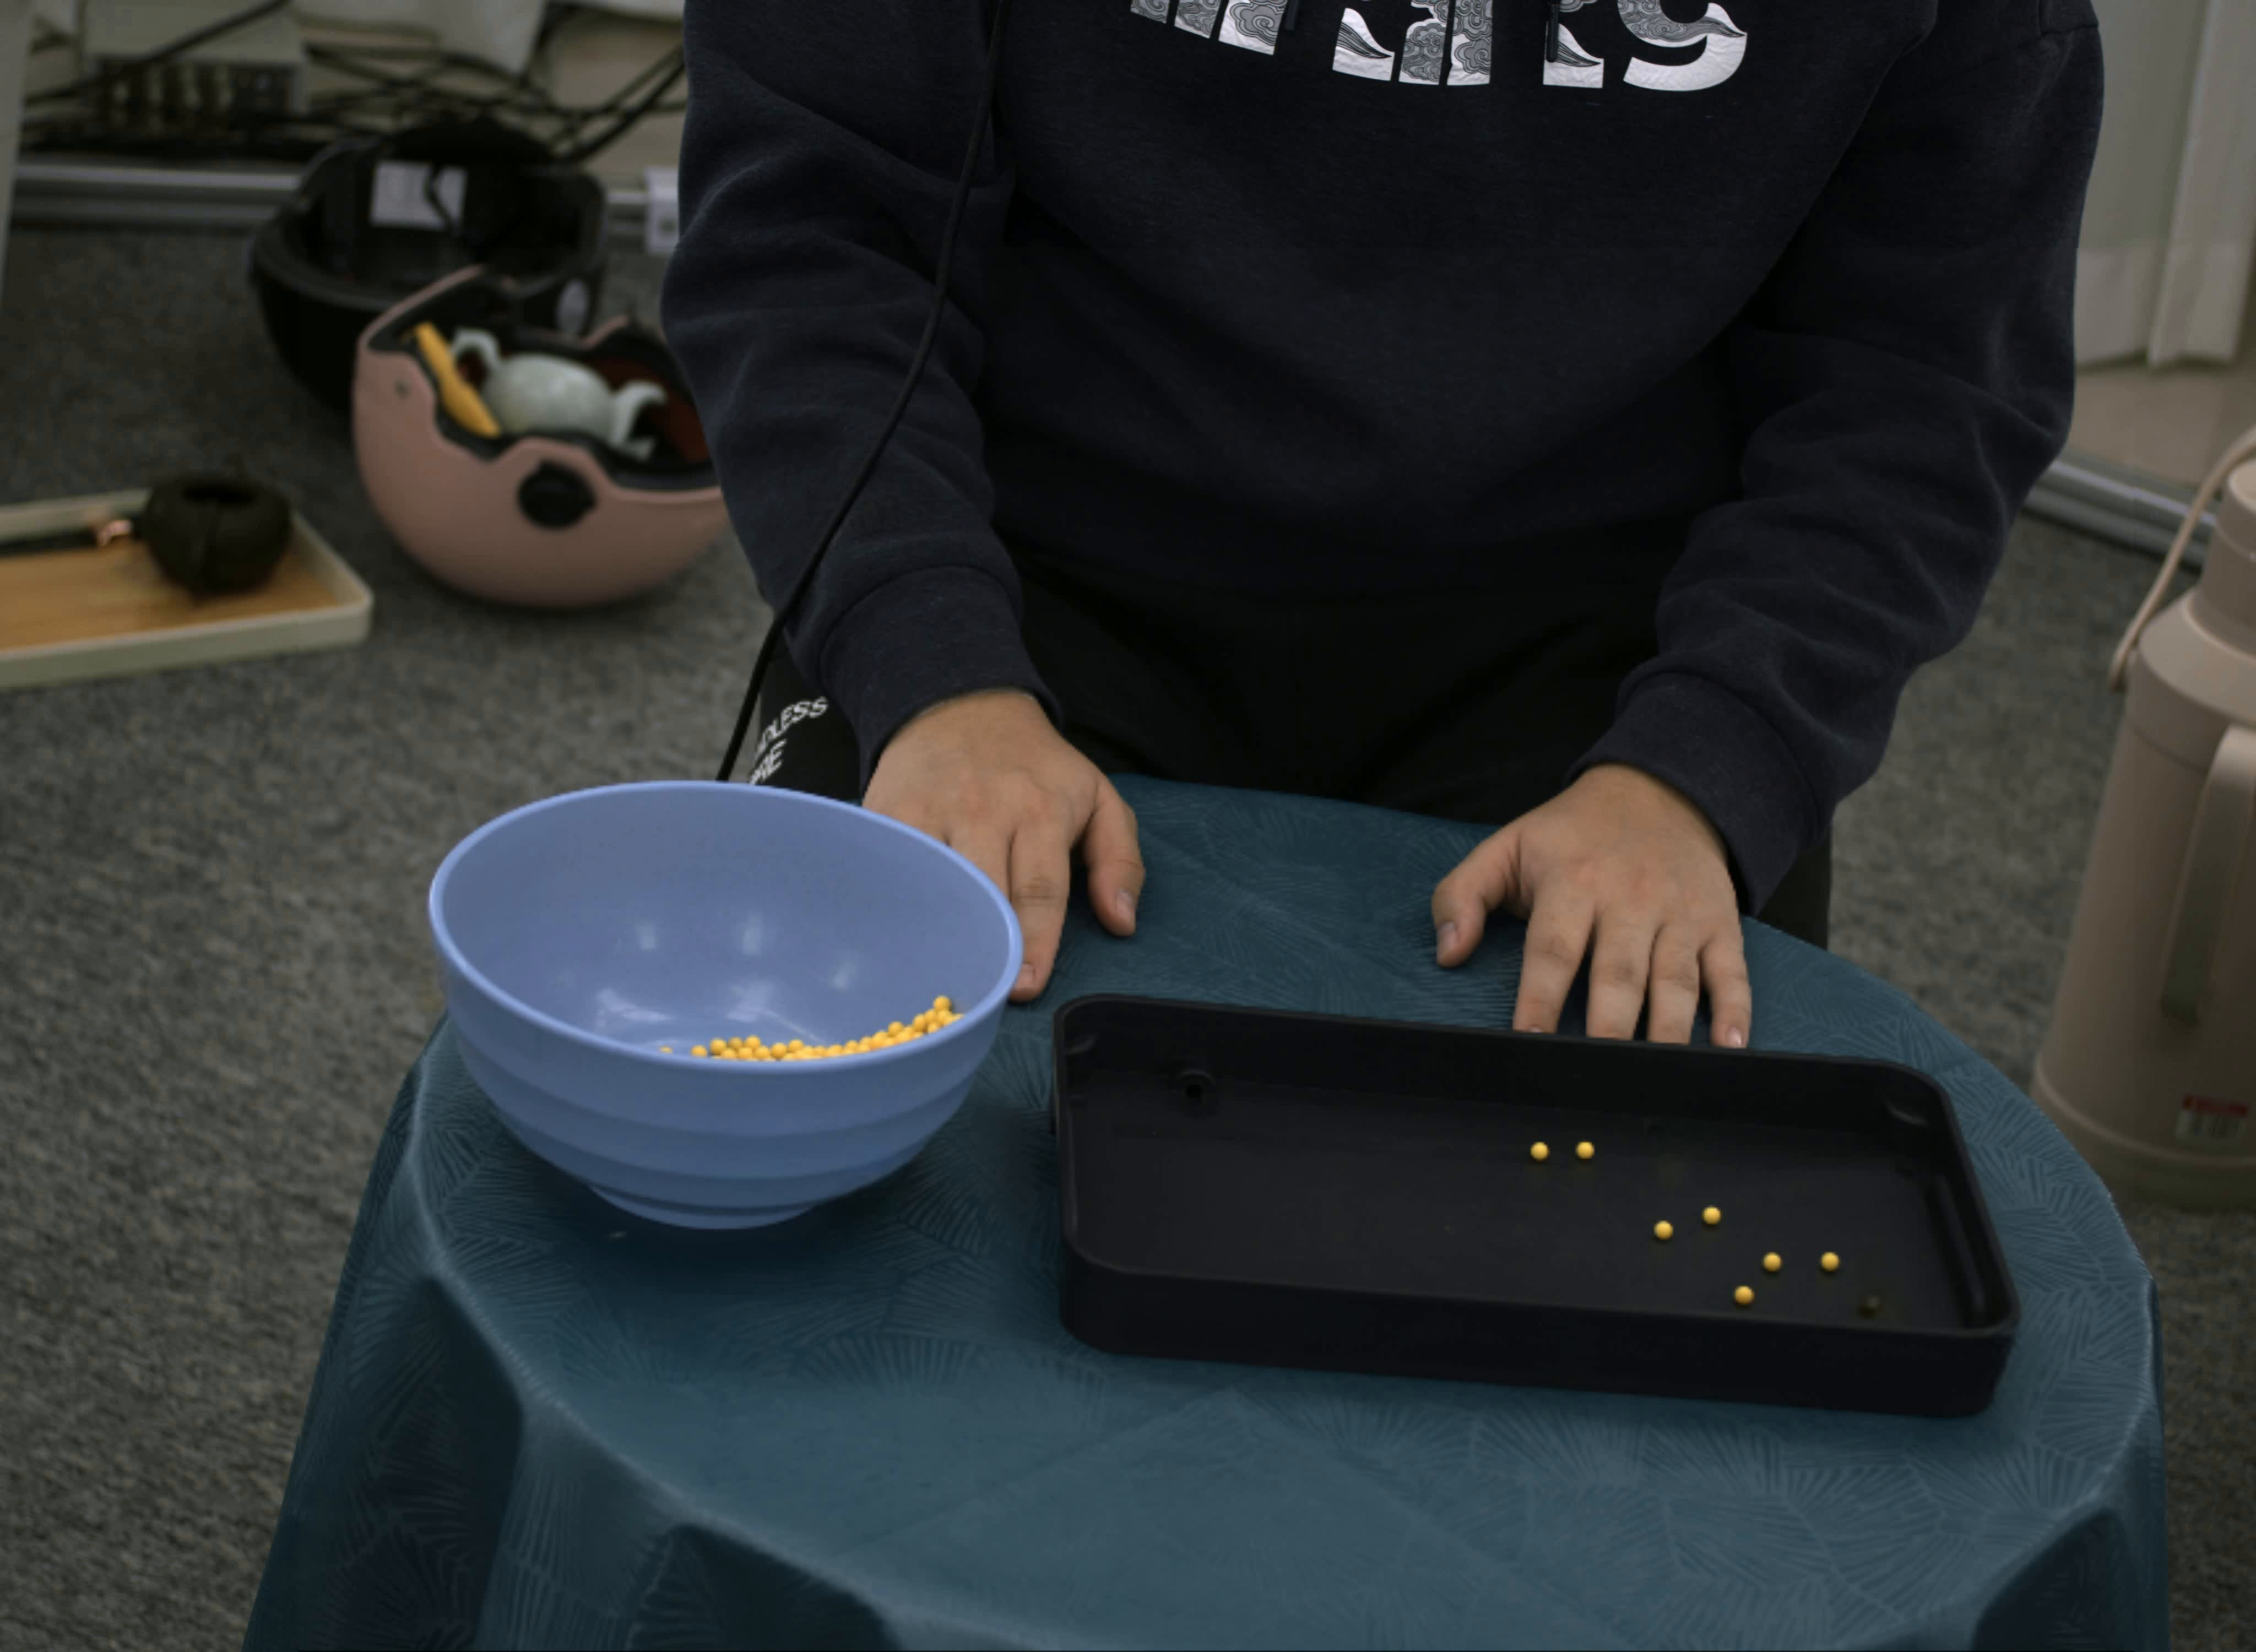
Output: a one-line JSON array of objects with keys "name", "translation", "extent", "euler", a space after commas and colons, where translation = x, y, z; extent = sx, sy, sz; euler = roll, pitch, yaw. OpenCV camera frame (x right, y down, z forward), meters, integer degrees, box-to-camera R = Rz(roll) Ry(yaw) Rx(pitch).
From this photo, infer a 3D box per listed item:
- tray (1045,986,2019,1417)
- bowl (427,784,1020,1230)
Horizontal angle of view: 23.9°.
[{"name": "tray", "translation": [0.129, 0.125, 1.793], "extent": [0.317, 0.037, 0.185], "euler": [5, 27, -4]}, {"name": "bowl", "translation": [-0.137, 0.071, 1.774], "extent": [0.196, 0.095, 0.197], "euler": [5, 27, -3]}]
